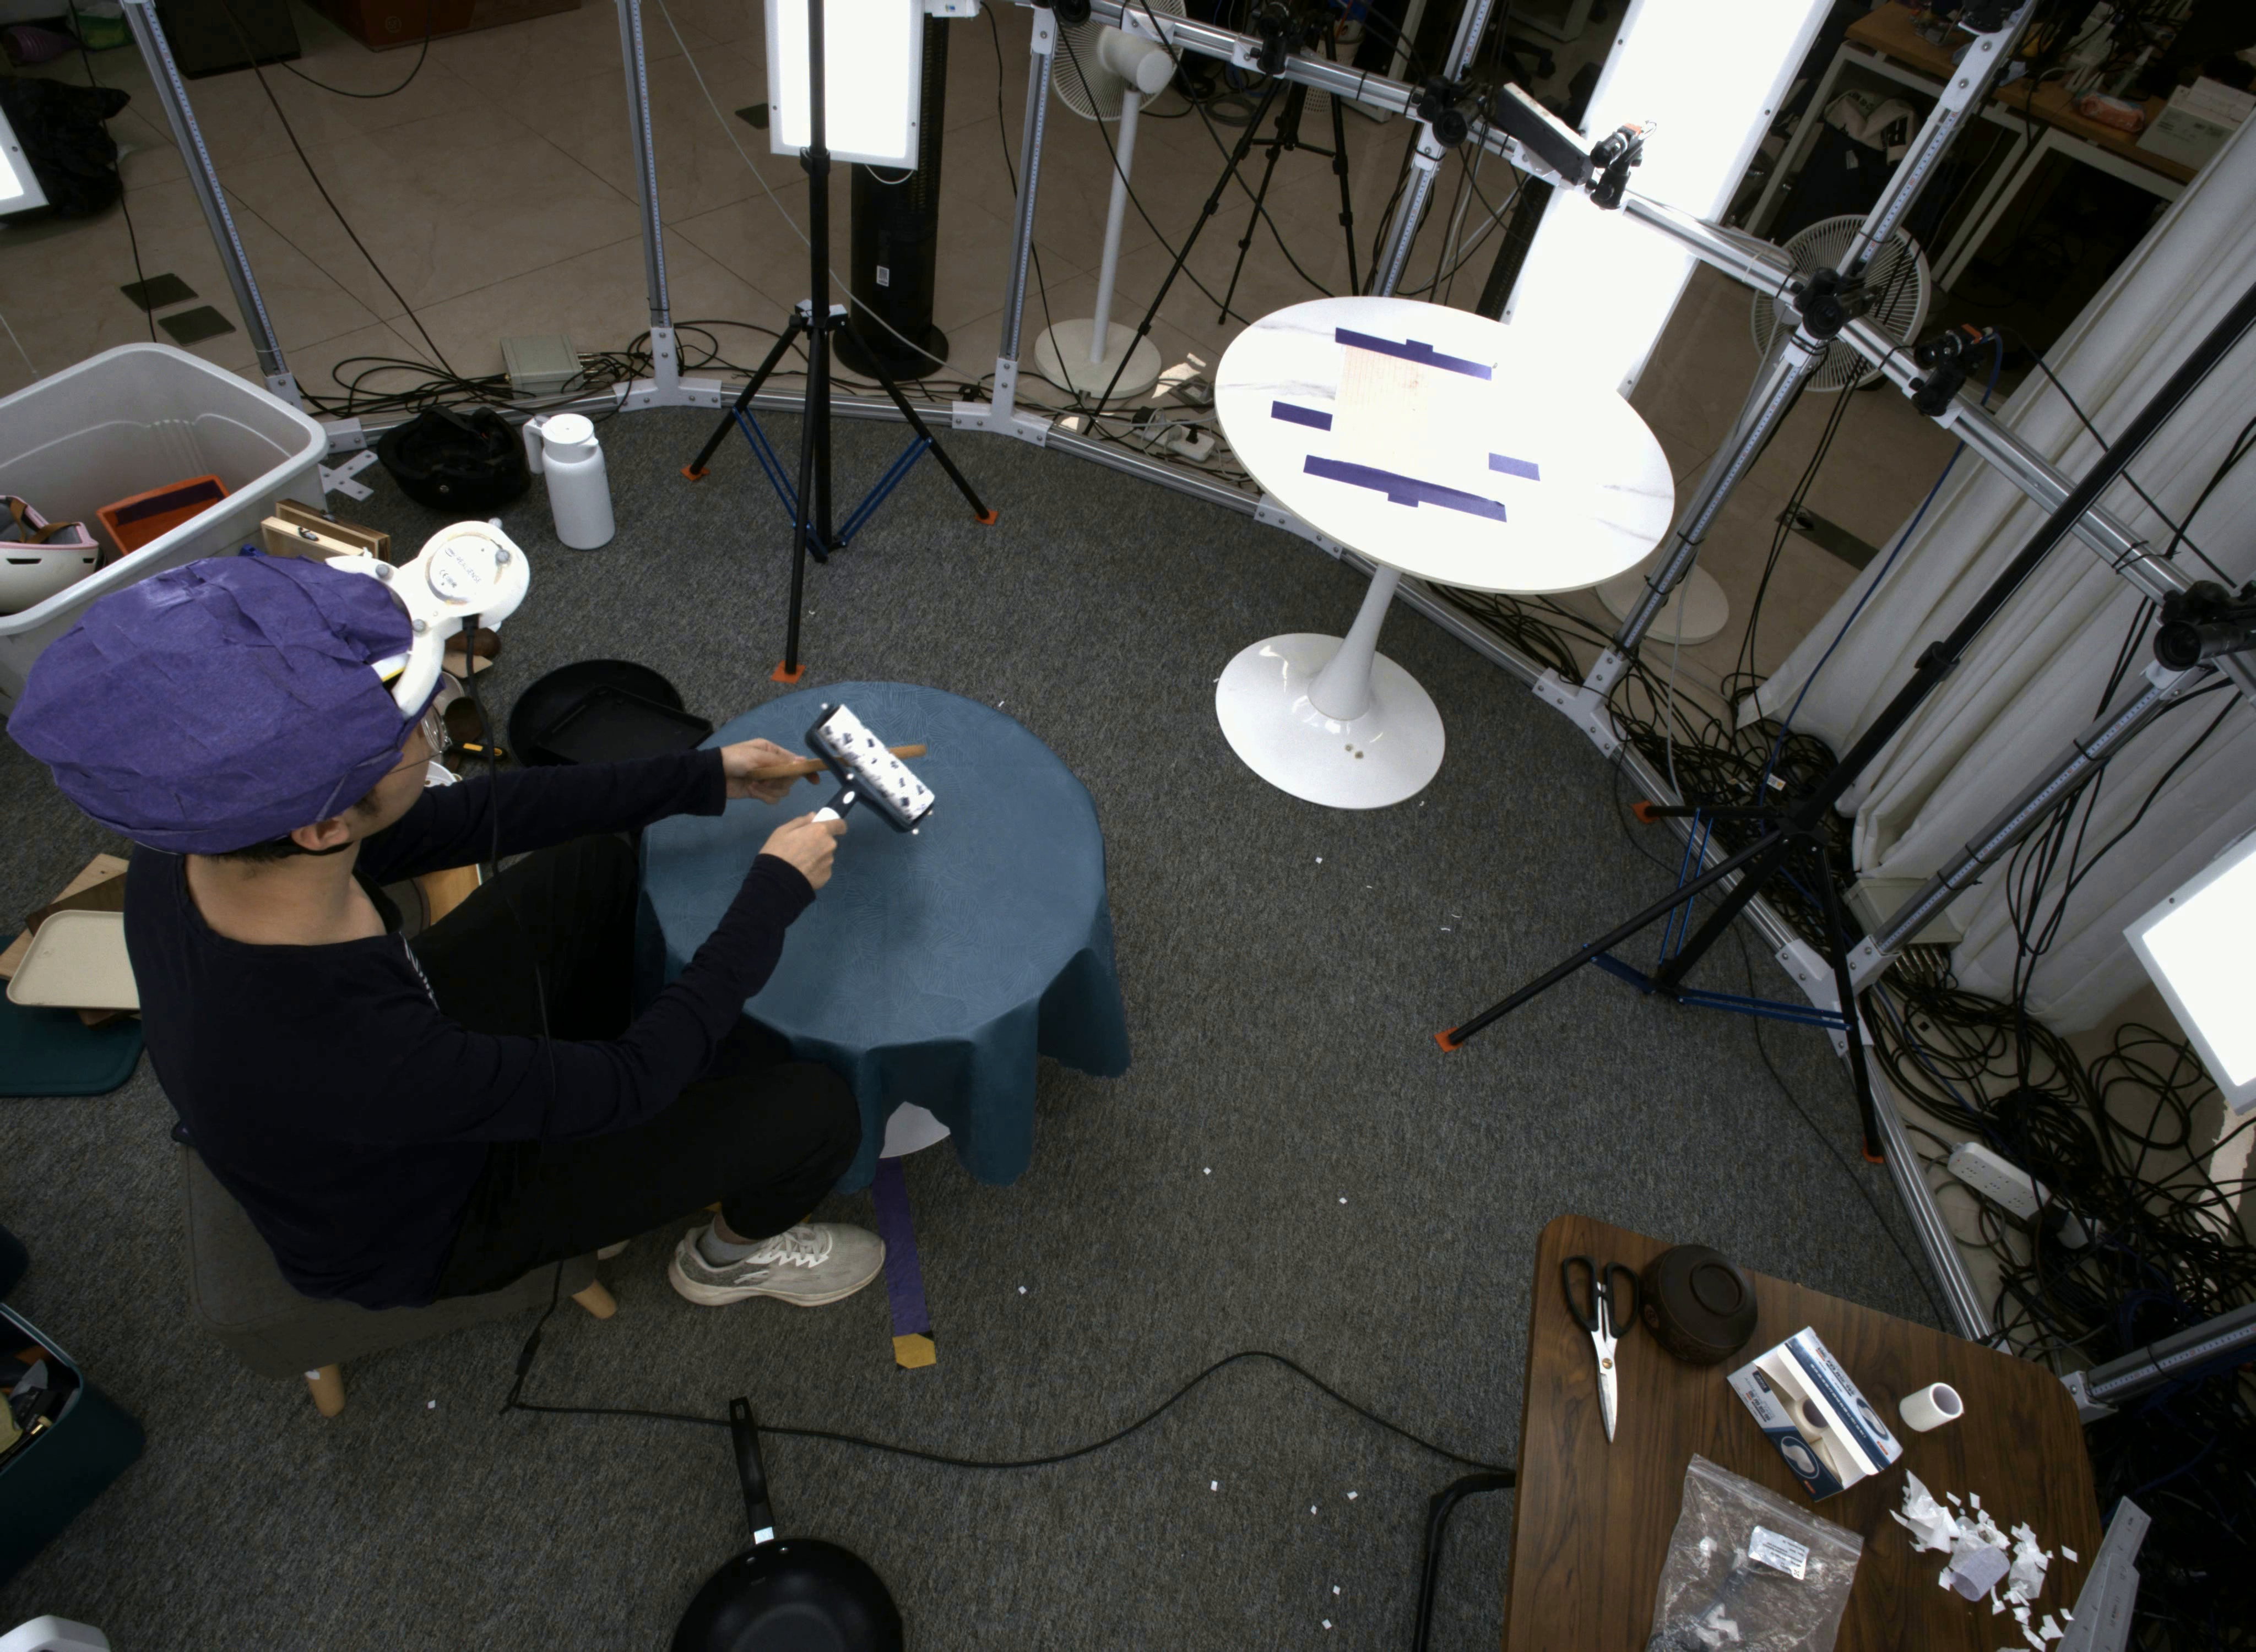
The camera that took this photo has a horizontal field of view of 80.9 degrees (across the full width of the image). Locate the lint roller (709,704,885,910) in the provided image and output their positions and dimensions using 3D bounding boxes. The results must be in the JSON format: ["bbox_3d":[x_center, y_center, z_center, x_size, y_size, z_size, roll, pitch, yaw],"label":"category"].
[{"bbox_3d":[-0.410,-0.002,1.522,0.181,0.049,0.245,46,54,-24],"label":"lint roller"}]

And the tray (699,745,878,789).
[{"bbox_3d":[-0.424,-0.076,1.629,0.234,0.098,0.021,-12,98,-34],"label":"tray"}]
